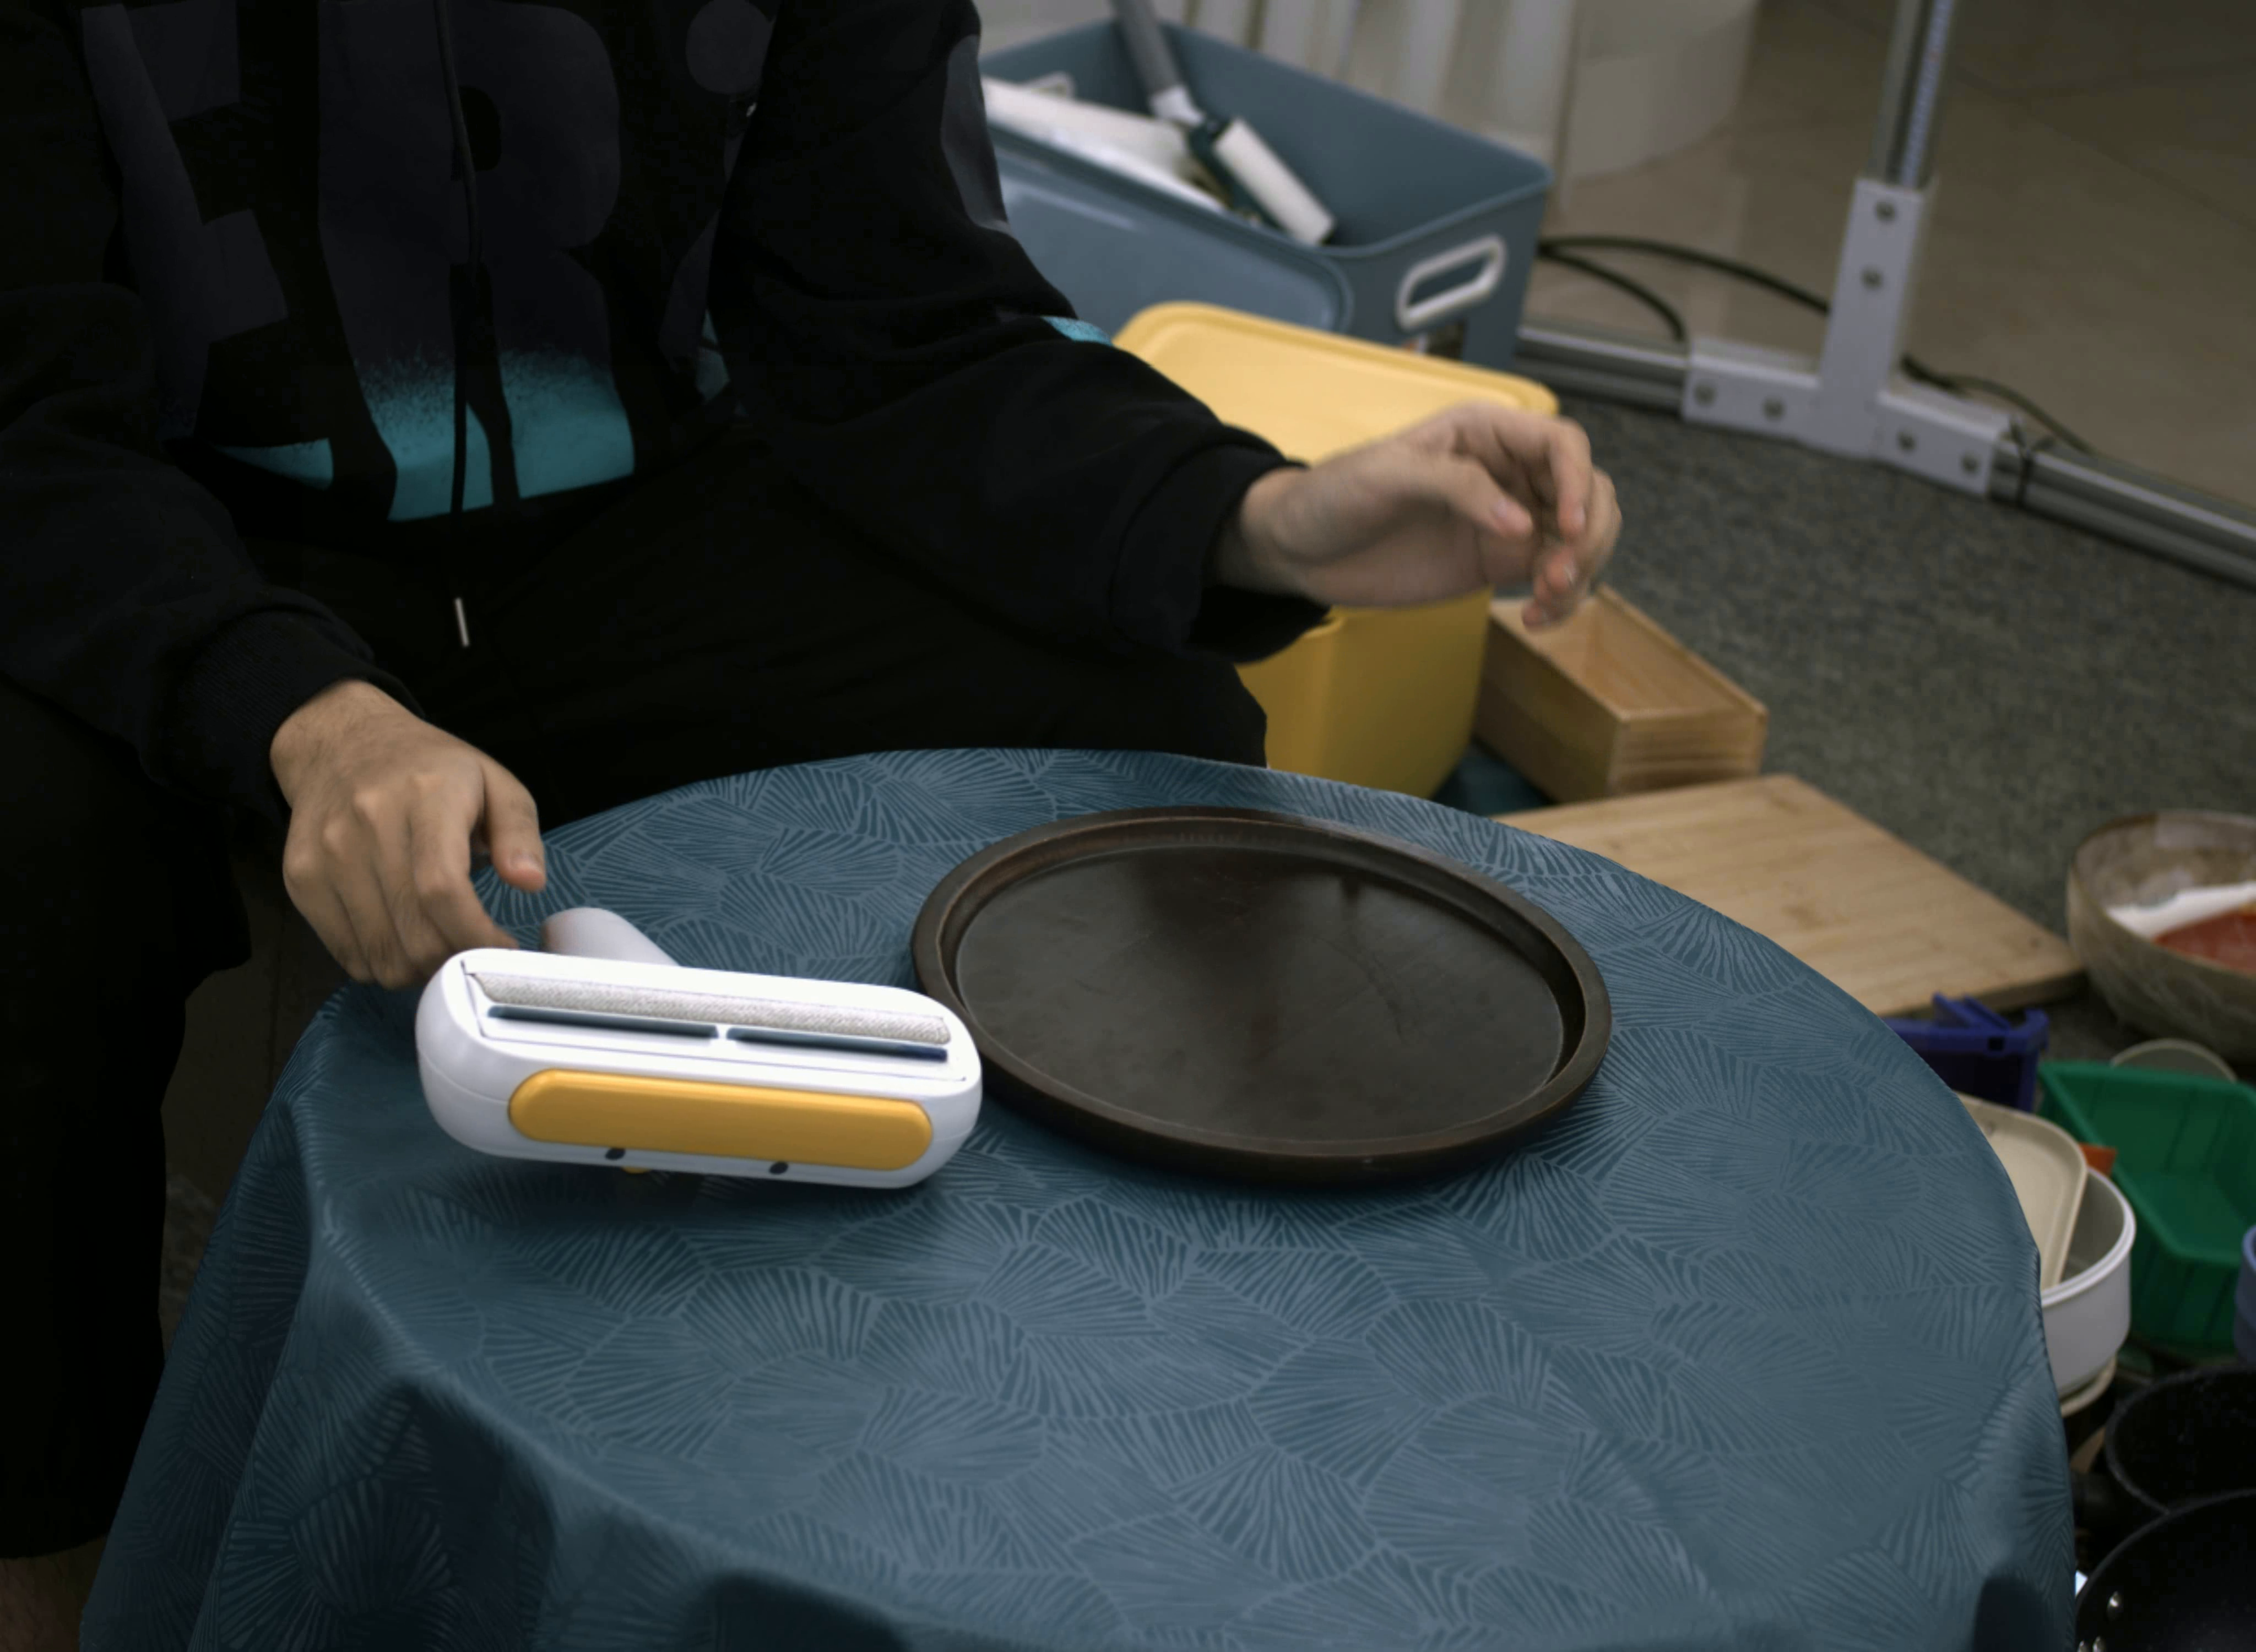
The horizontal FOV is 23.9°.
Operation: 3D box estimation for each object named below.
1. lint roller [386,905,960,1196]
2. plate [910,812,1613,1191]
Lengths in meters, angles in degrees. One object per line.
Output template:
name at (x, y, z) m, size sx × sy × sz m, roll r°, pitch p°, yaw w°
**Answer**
lint roller at (-0.165, 0.061, 1.811) m, size 0.191 × 0.074 × 0.194 m, roll 4°, pitch 25°, yaw -17°
plate at (0.047, 0.061, 1.907) m, size 0.254 × 0.029 × 0.256 m, roll 5°, pitch 26°, yaw -3°
